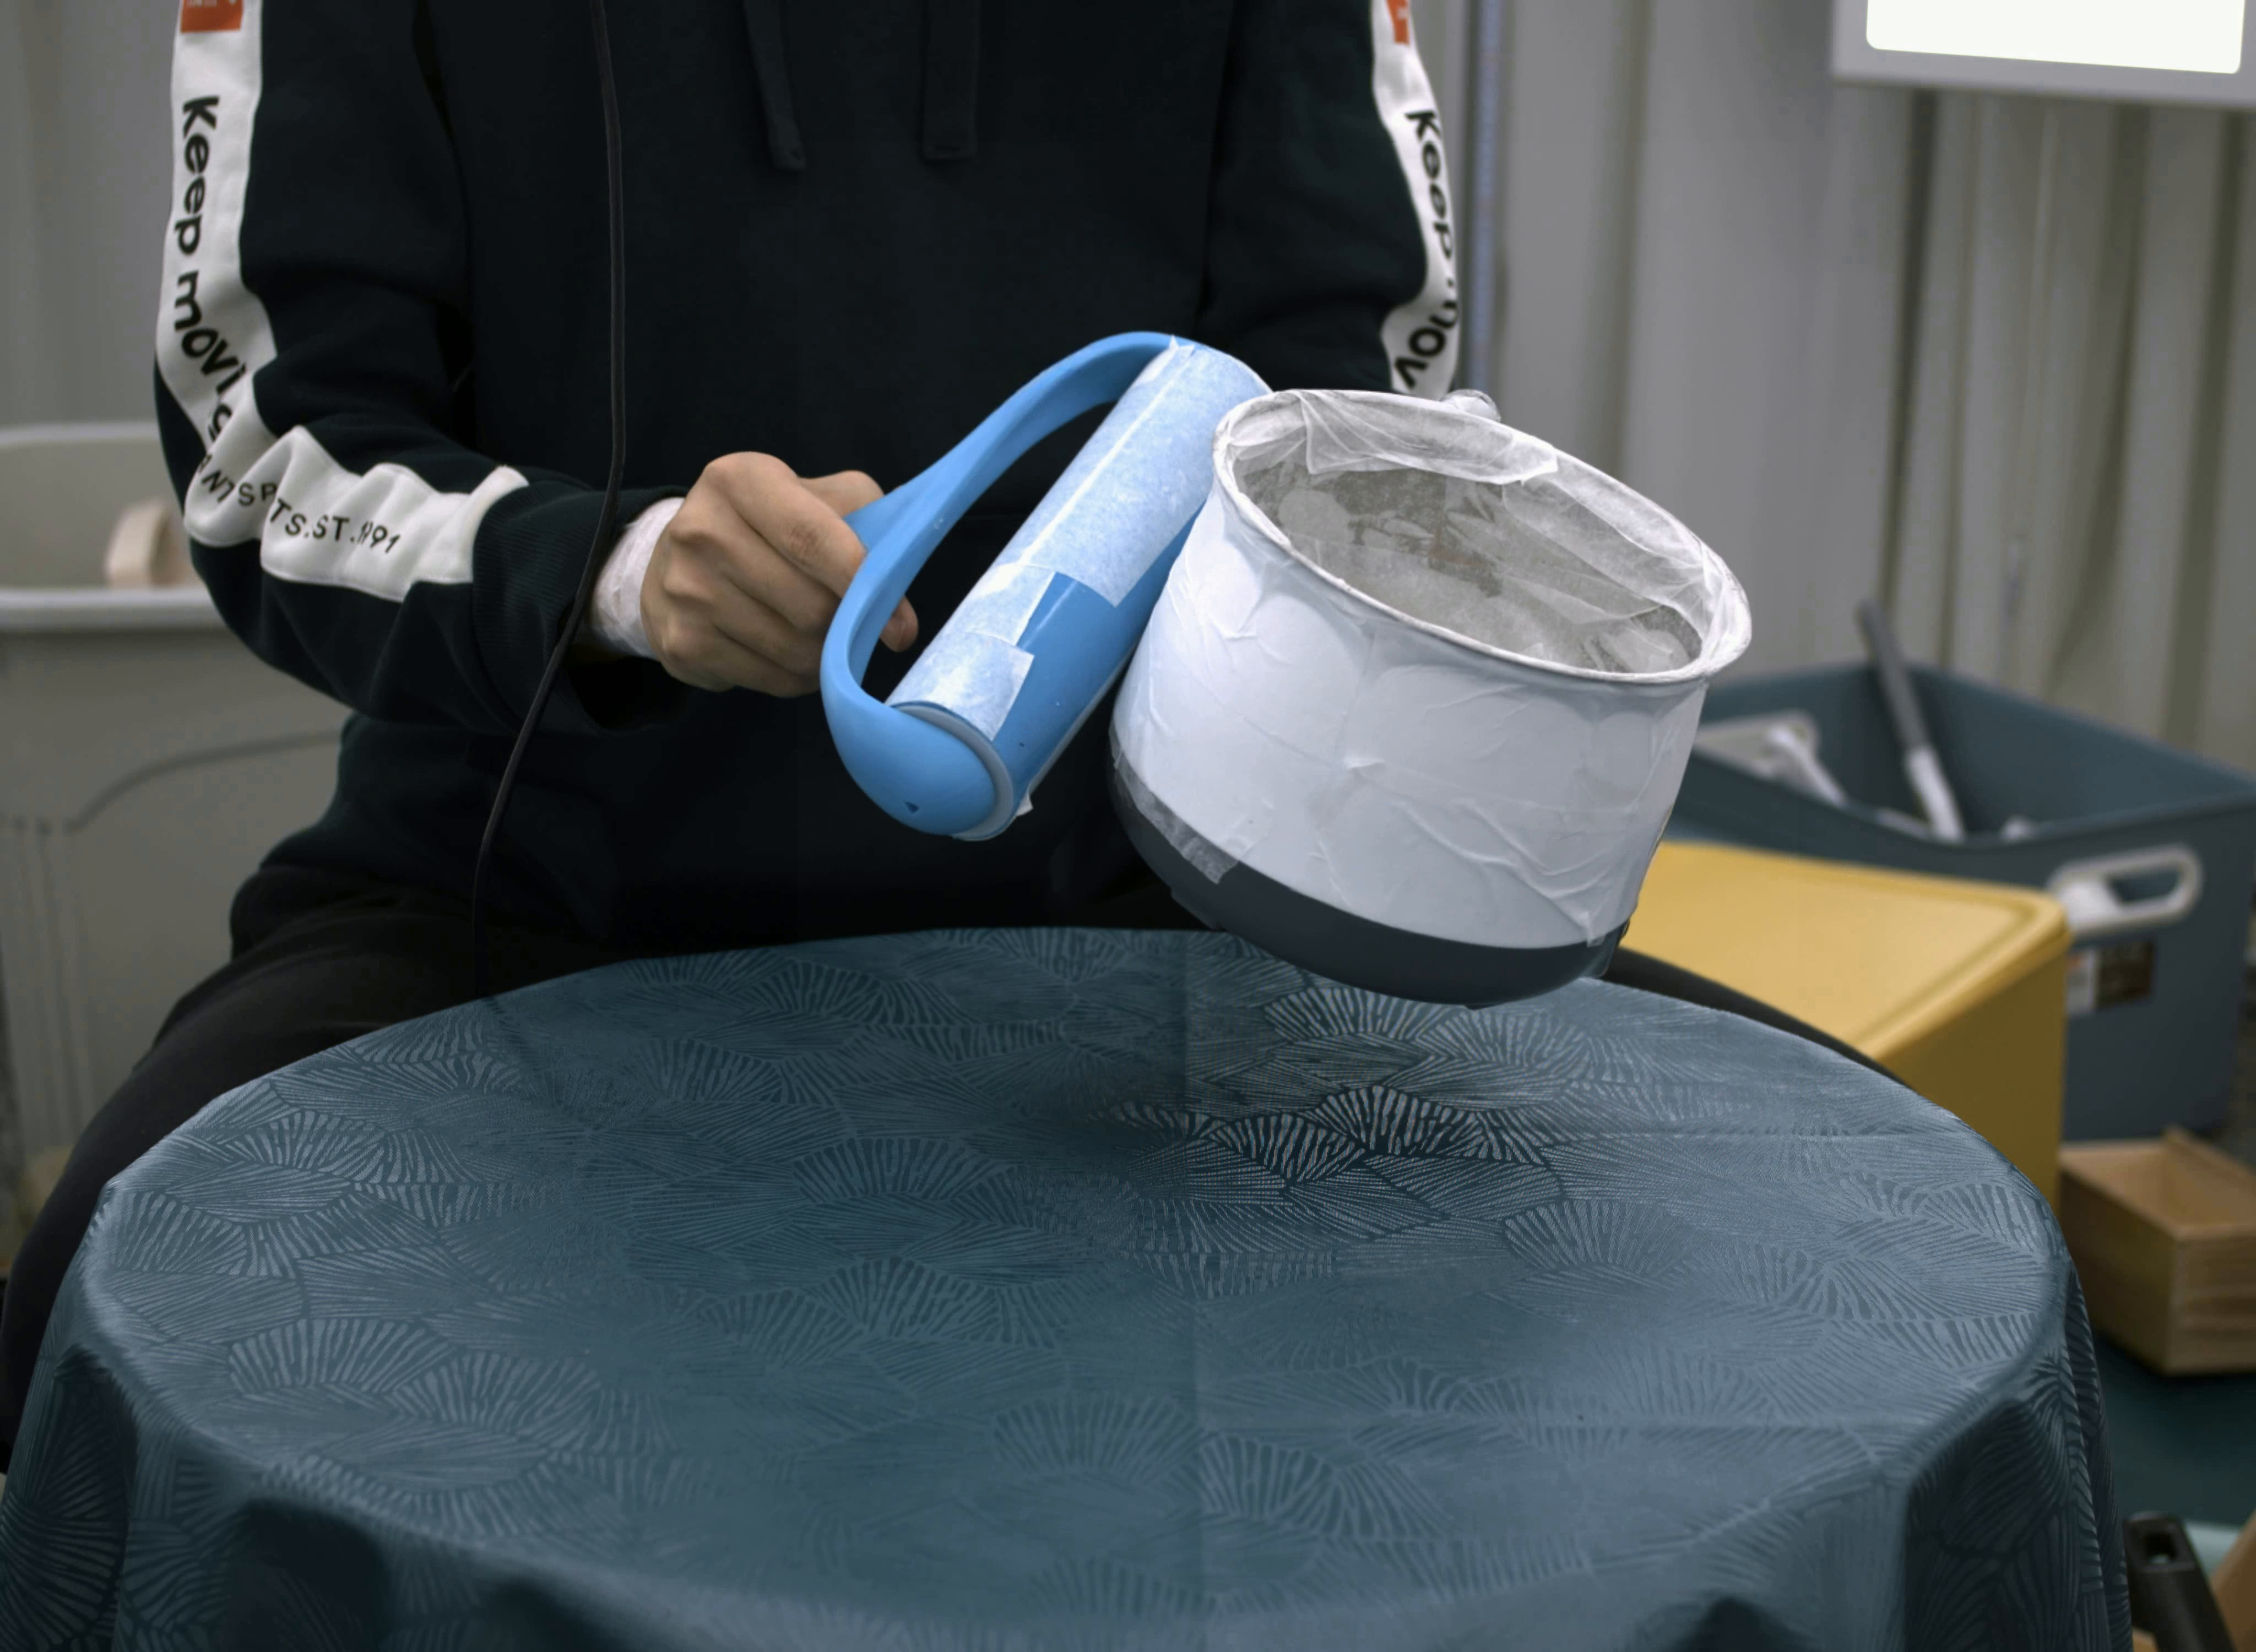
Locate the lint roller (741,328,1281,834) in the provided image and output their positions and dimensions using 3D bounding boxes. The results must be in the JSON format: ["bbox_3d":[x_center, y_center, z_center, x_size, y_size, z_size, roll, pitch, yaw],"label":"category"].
[{"bbox_3d":[-0.062,-0.076,1.693,0.178,0.069,0.228,-3,39,31],"label":"lint roller"}]

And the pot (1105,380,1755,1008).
[{"bbox_3d":[0.090,-0.052,1.661,0.179,0.137,0.232,17,27,-8],"label":"pot"}]
